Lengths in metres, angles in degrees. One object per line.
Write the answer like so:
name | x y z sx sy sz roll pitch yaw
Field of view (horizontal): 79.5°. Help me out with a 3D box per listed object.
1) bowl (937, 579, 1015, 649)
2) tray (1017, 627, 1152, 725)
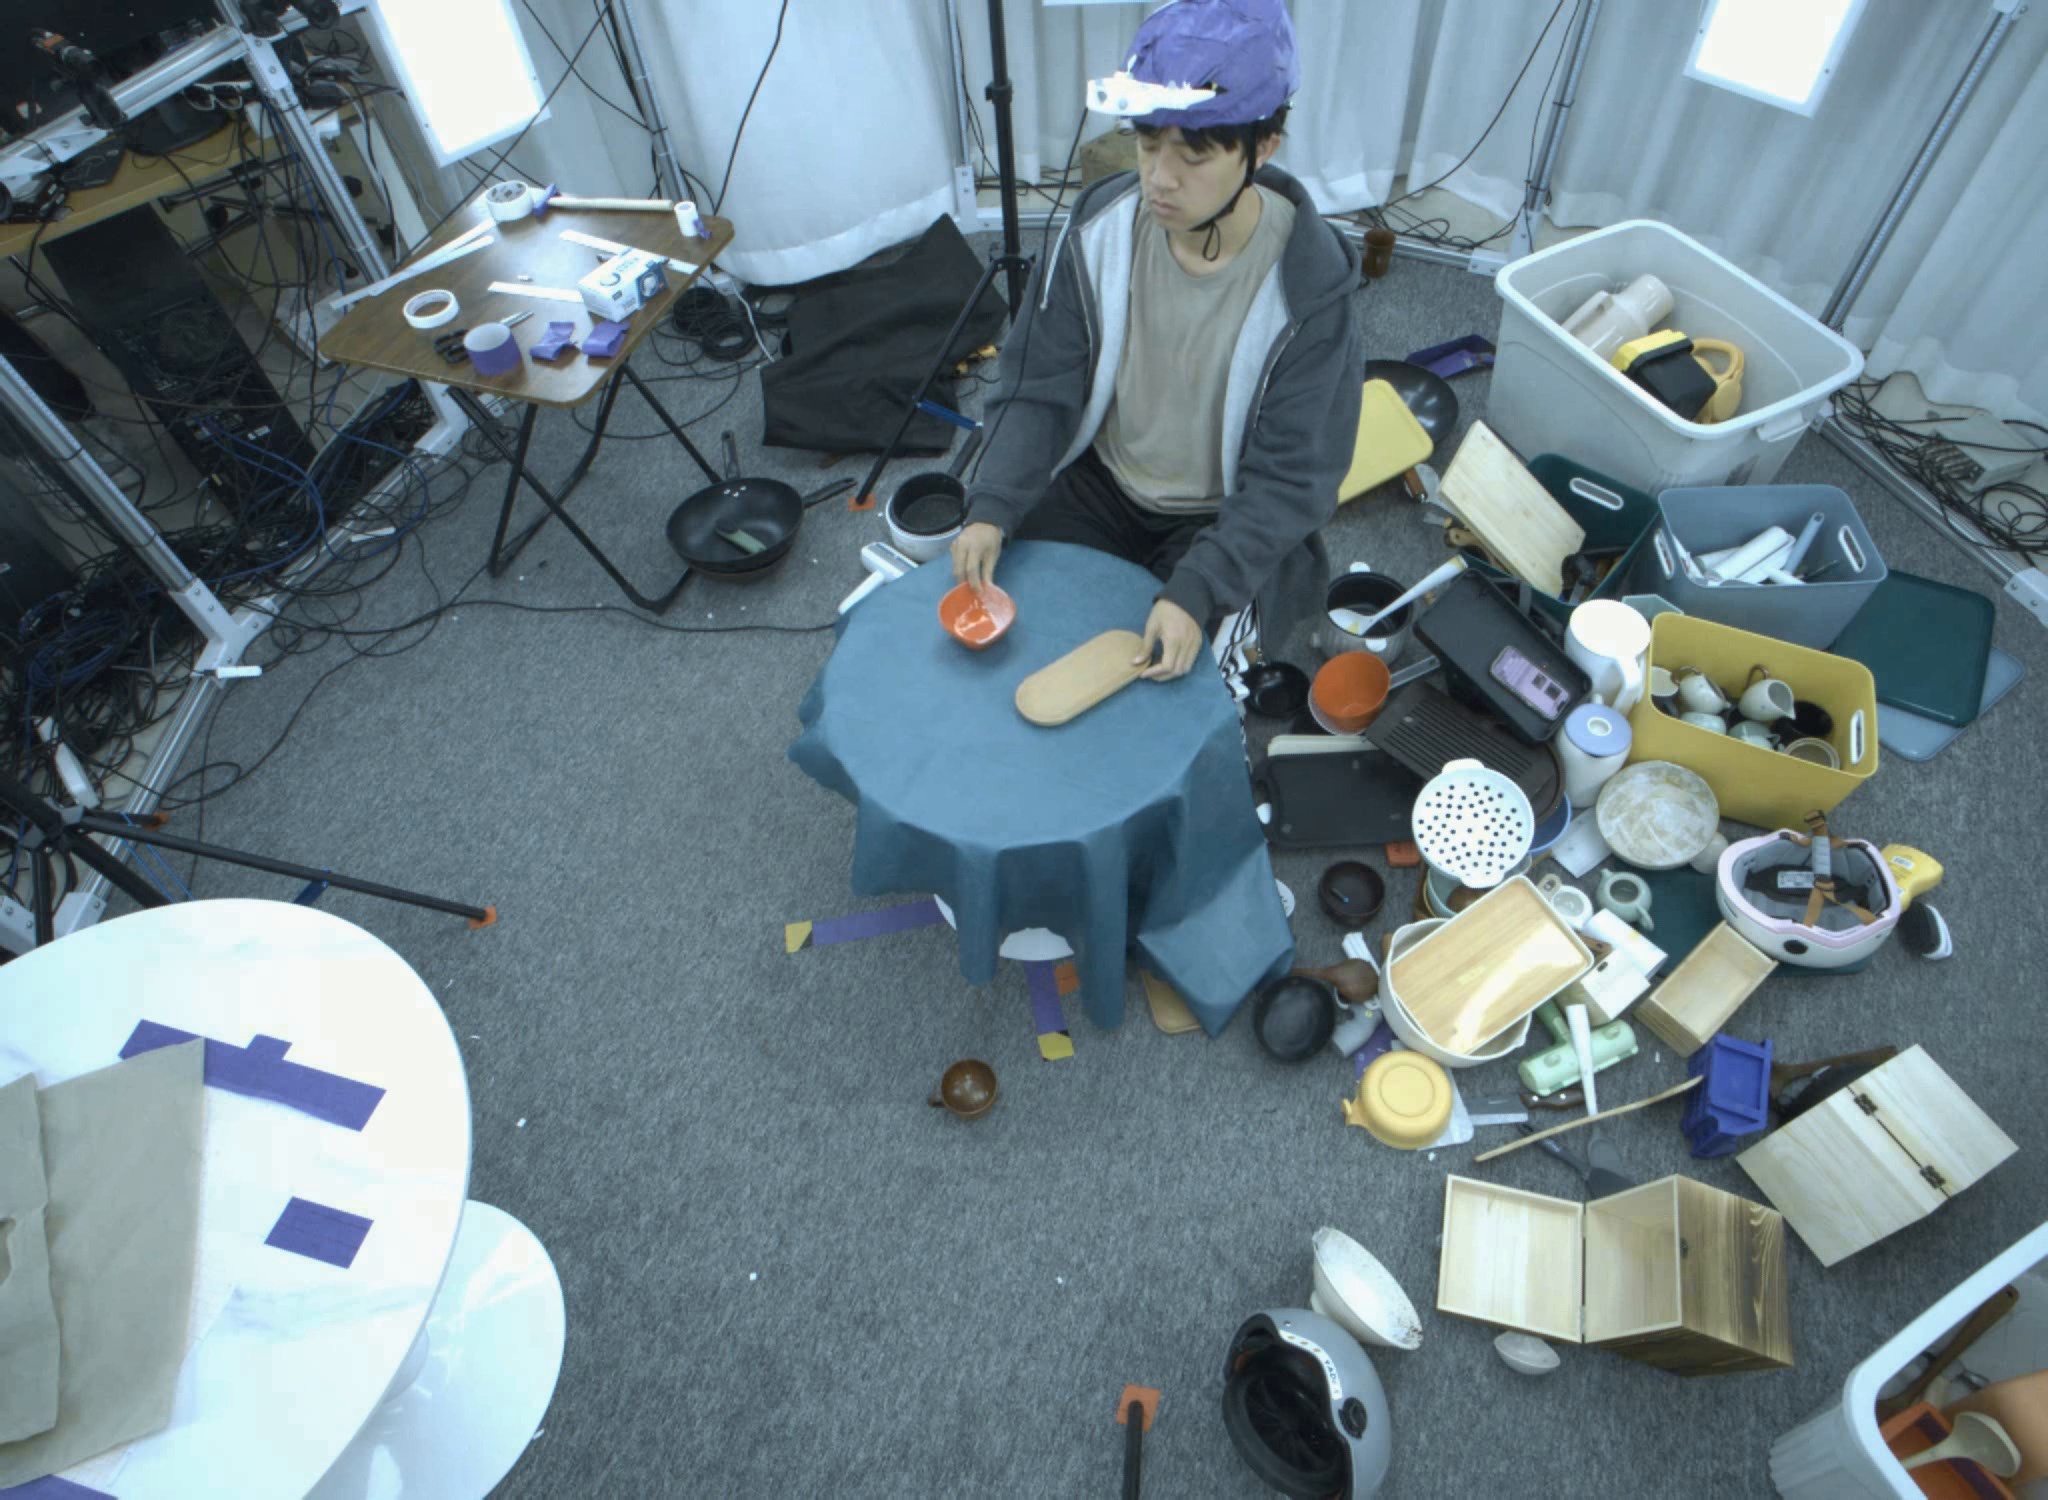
bowl | -0.073 -0.202 1.892 0.119 0.052 0.118 1 60 -1
tray | 0.092 -0.112 1.855 0.233 0.020 0.100 -33 58 -20
